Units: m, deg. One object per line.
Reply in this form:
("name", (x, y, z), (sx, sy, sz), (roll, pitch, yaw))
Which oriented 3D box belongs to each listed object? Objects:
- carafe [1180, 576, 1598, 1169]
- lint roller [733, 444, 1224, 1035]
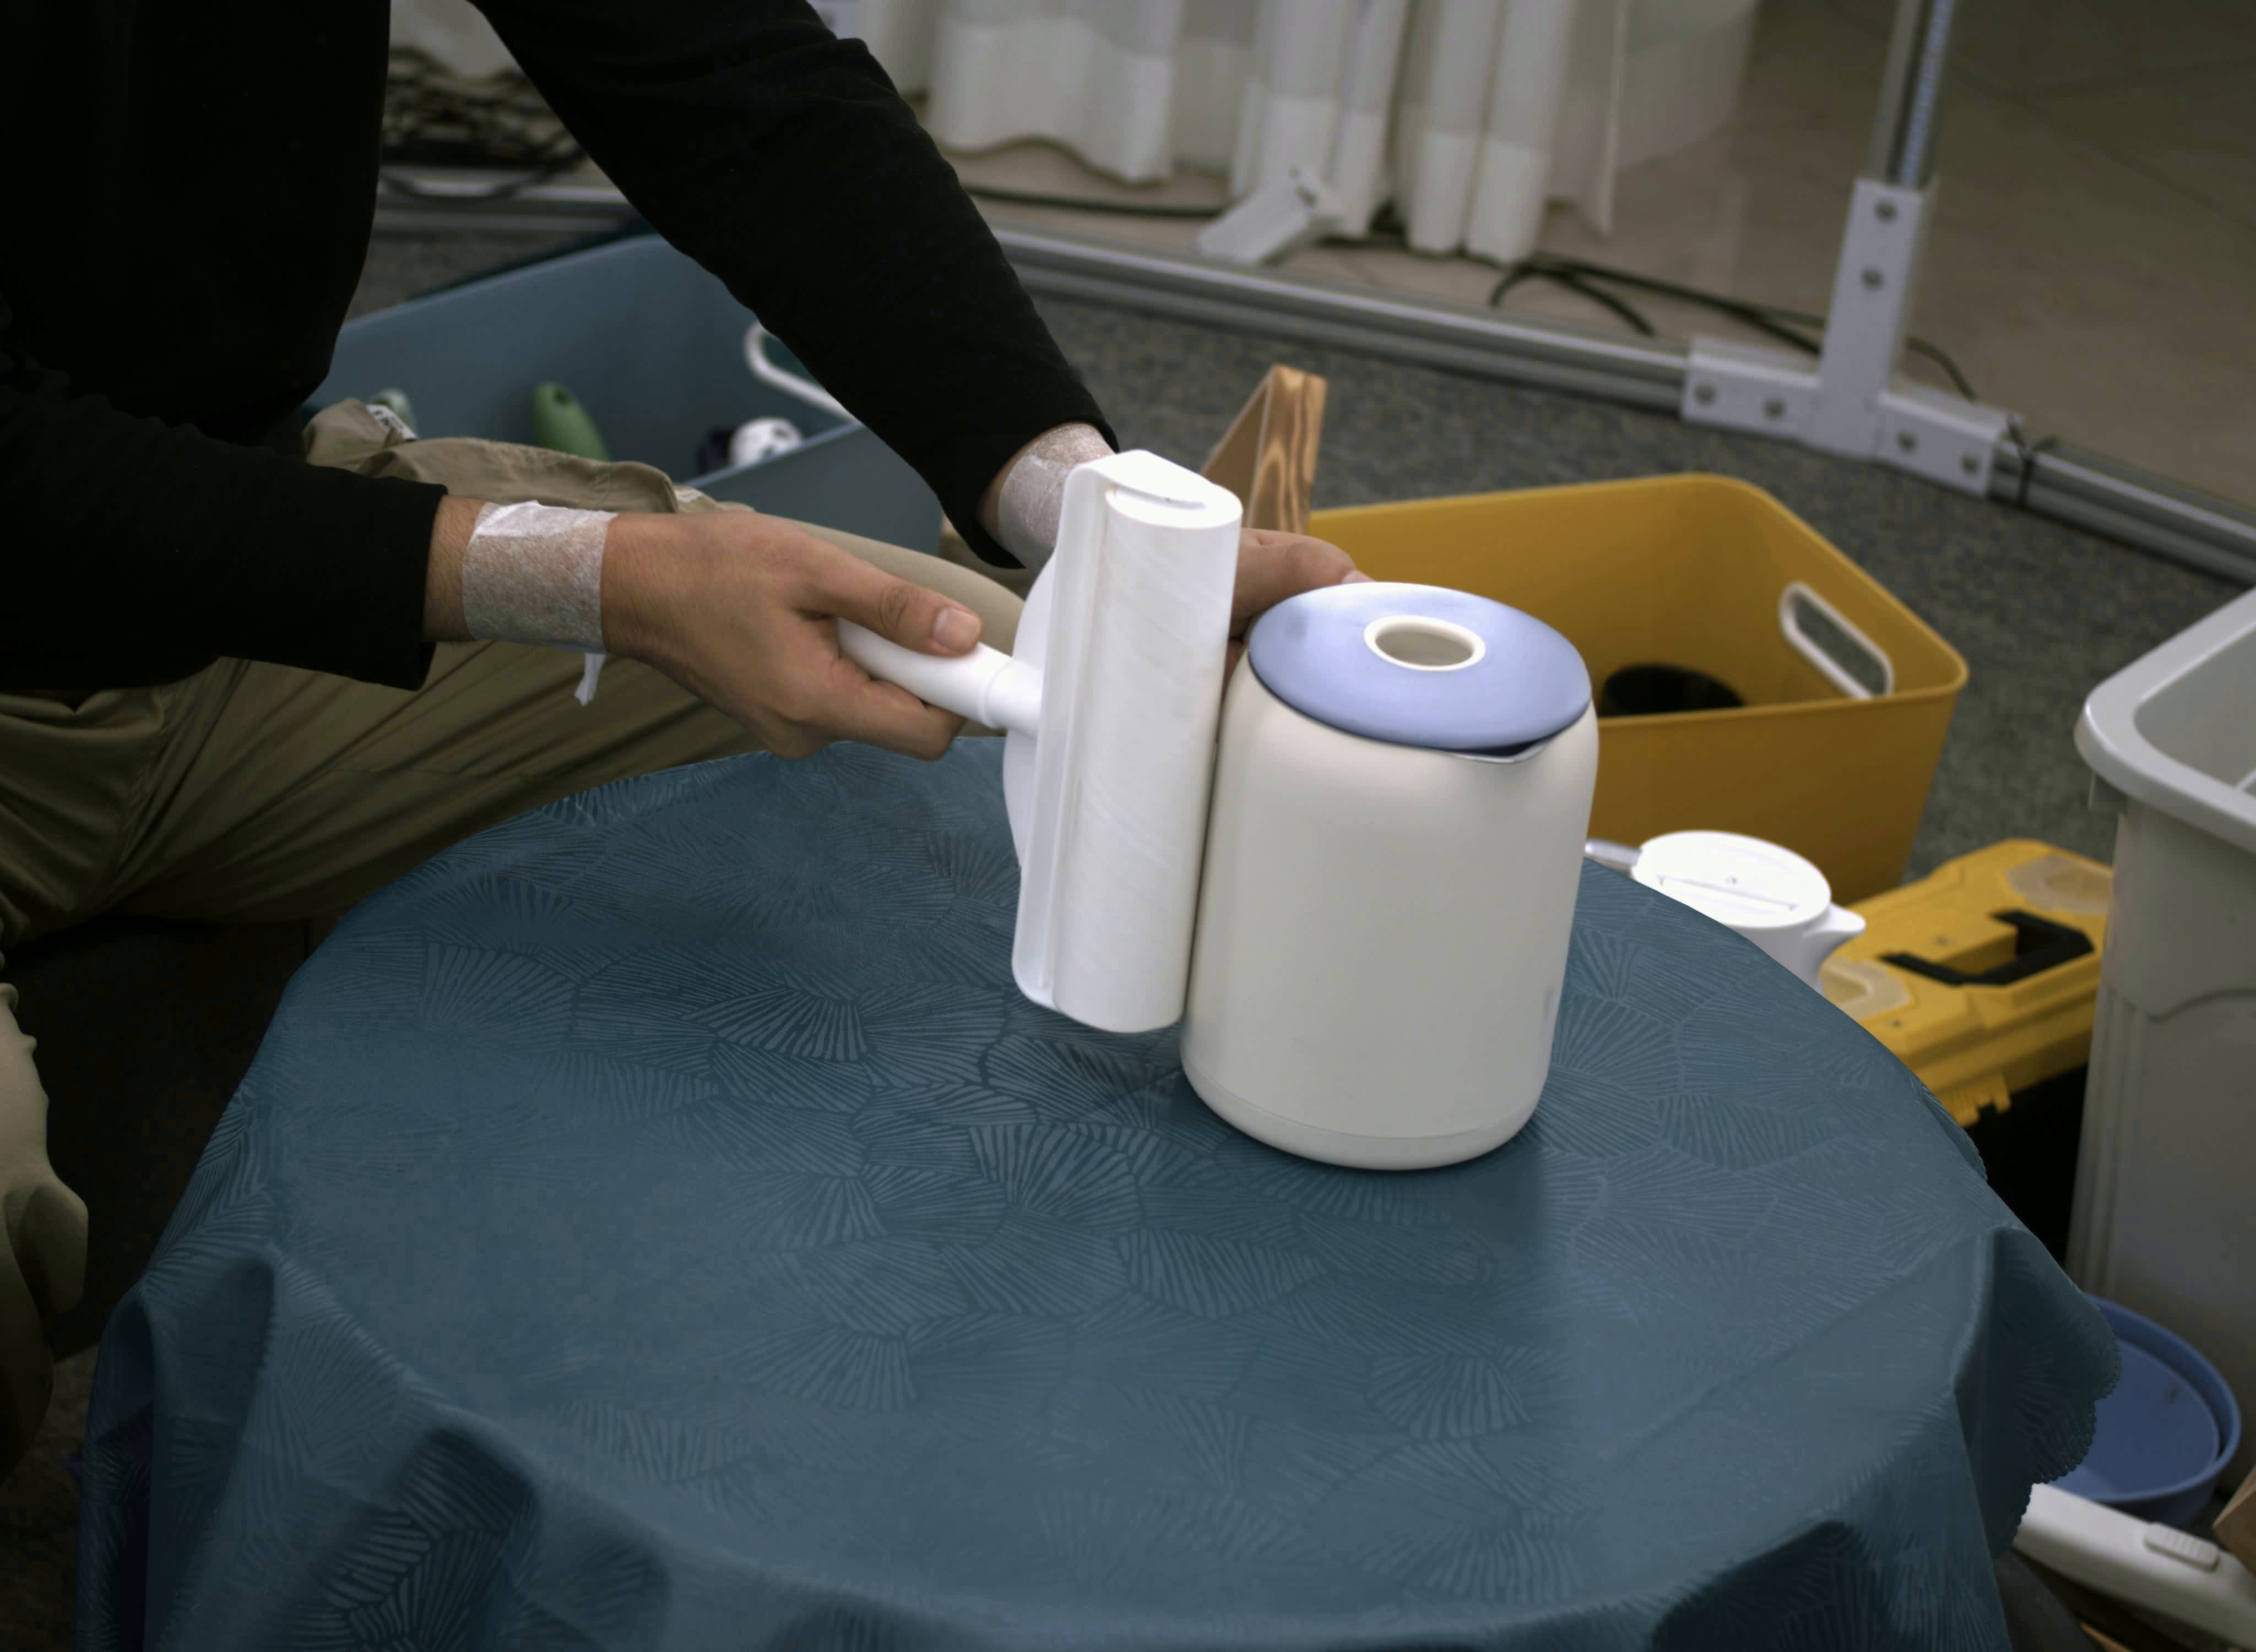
("carafe", (0.080, 0.005, 1.863), (0.131, 0.182, 0.193), (-7, 28, -26))
("lint roller", (-0.062, -0.052, 1.871), (0.227, 0.202, 0.048), (22, 29, 36))
